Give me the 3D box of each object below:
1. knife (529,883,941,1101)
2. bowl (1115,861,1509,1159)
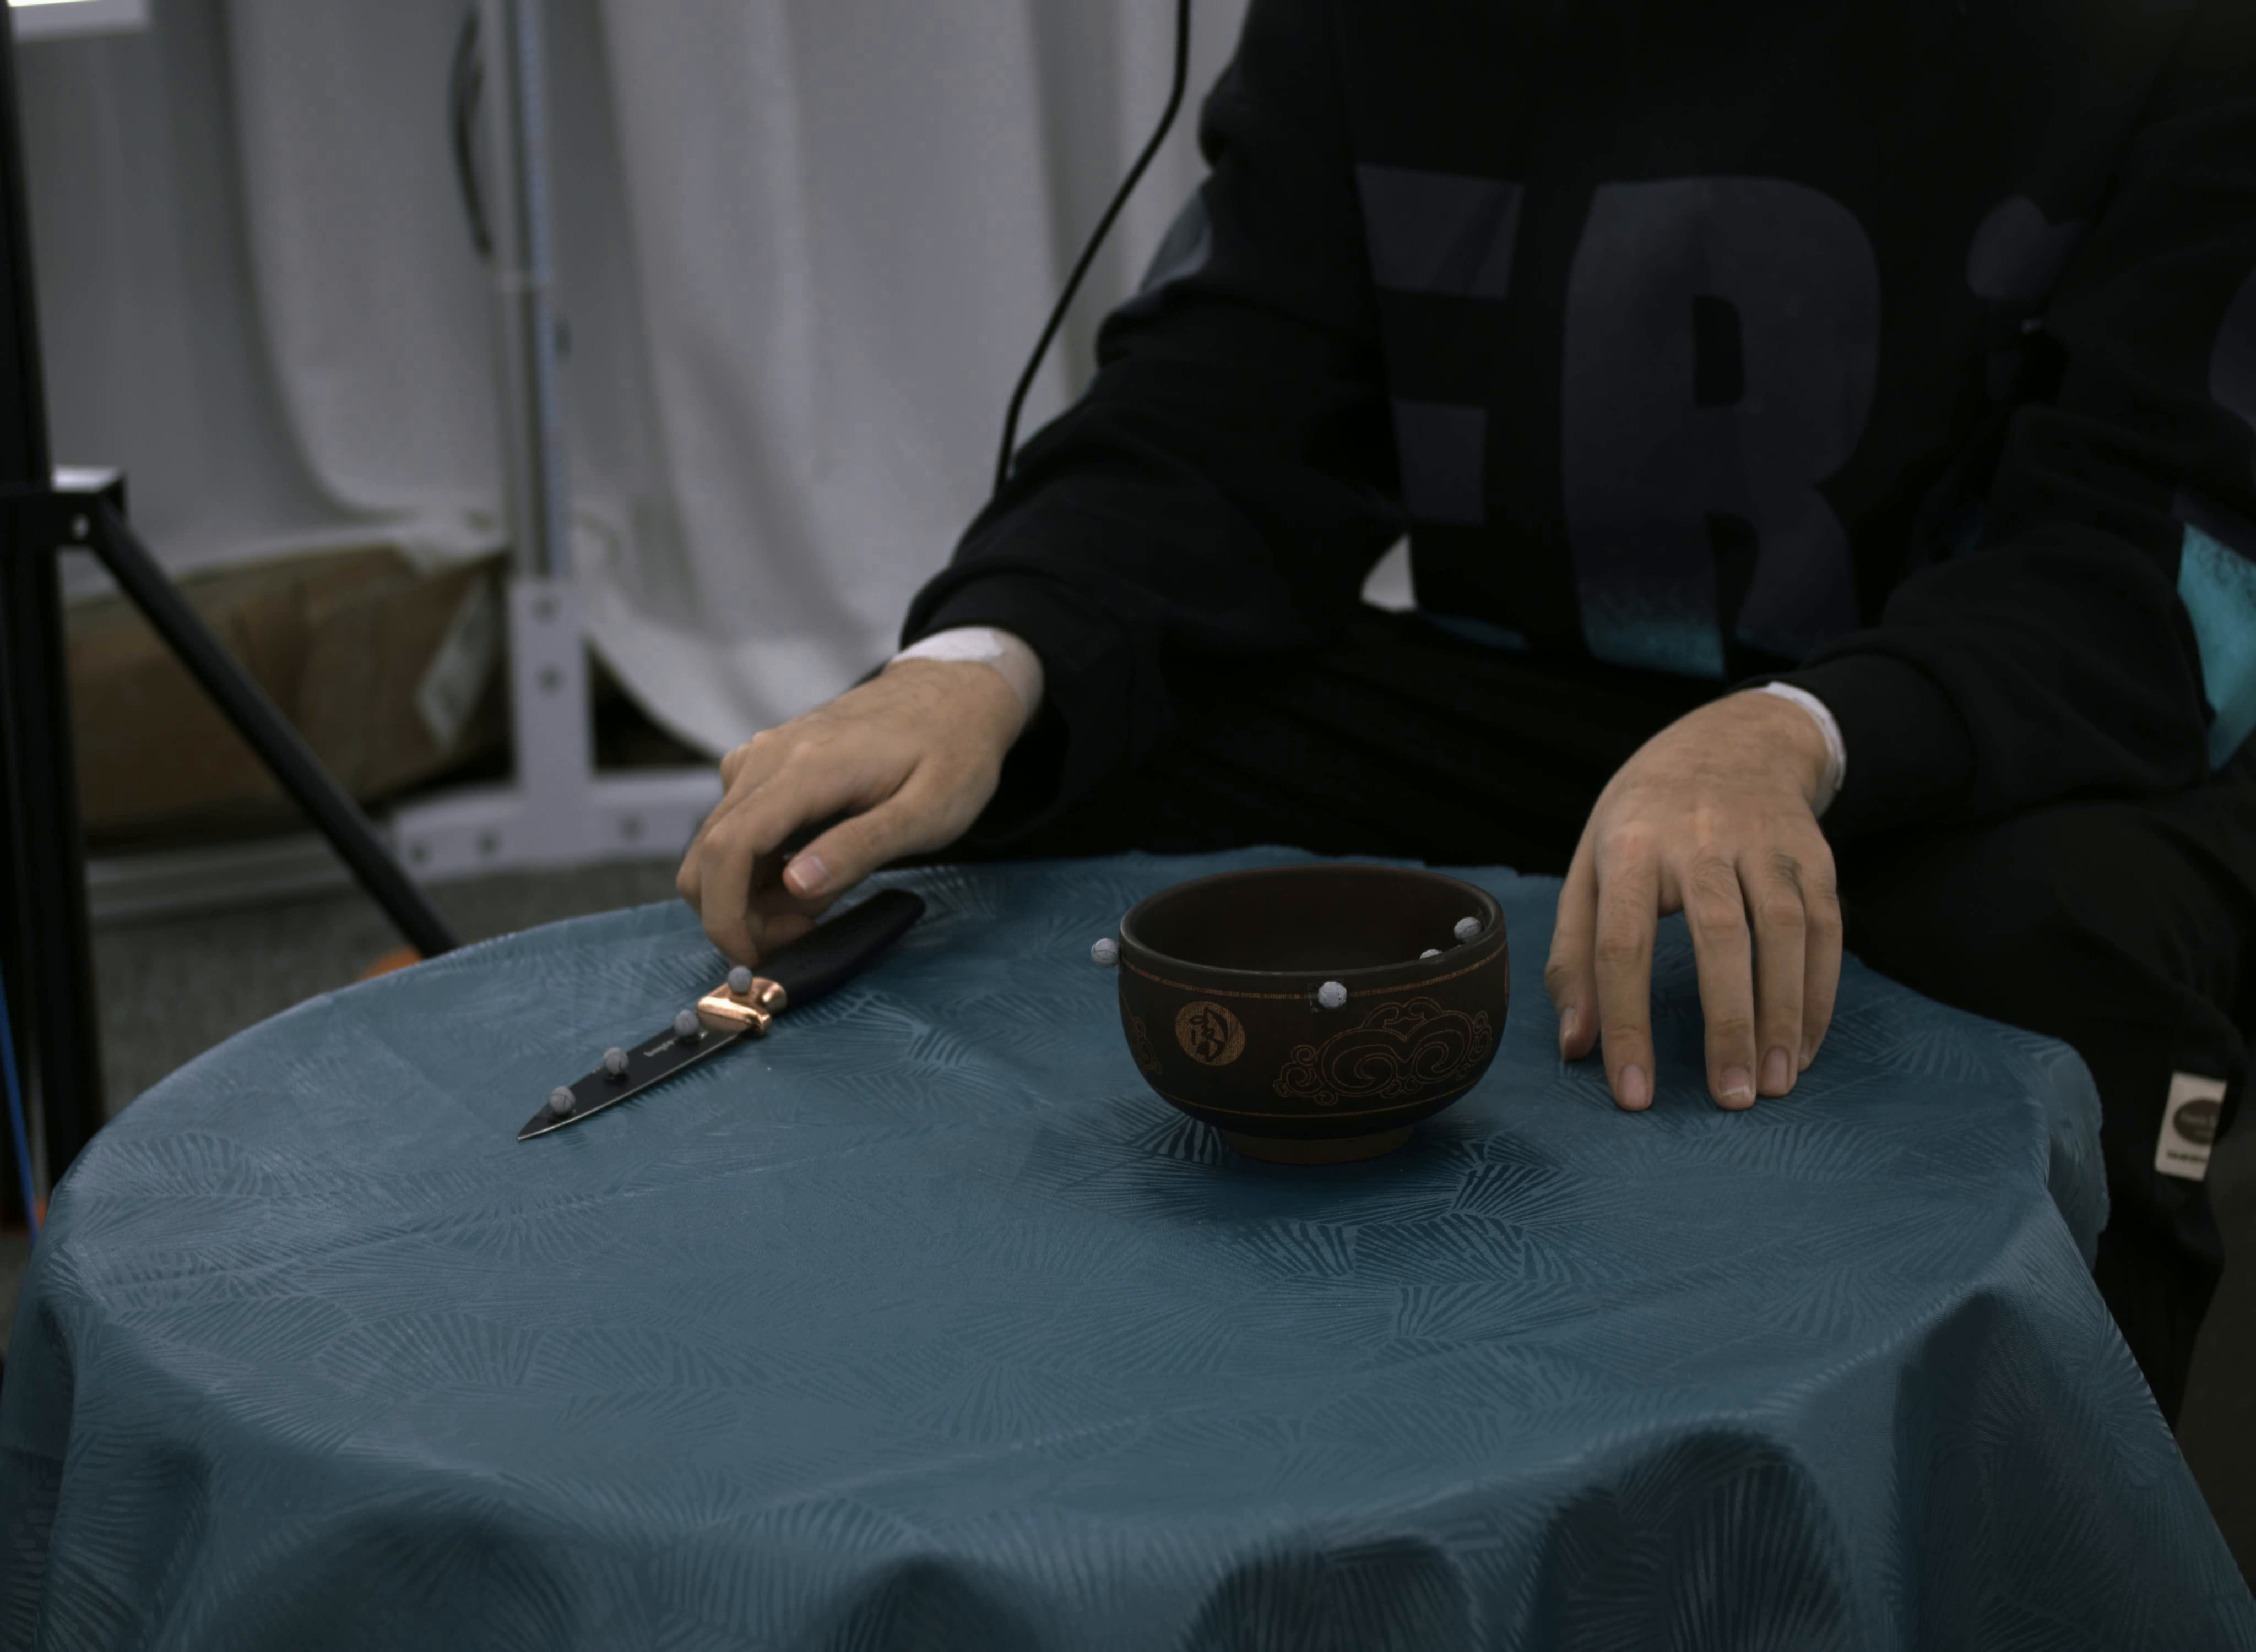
[{"bbox_3d":[-0.125,0.056,1.710,0.017,0.026,0.221,32,31,21],"label":"knife"},{"bbox_3d":[0.055,0.058,1.587,0.117,0.070,0.118,-1,14,-1],"label":"bowl"}]
